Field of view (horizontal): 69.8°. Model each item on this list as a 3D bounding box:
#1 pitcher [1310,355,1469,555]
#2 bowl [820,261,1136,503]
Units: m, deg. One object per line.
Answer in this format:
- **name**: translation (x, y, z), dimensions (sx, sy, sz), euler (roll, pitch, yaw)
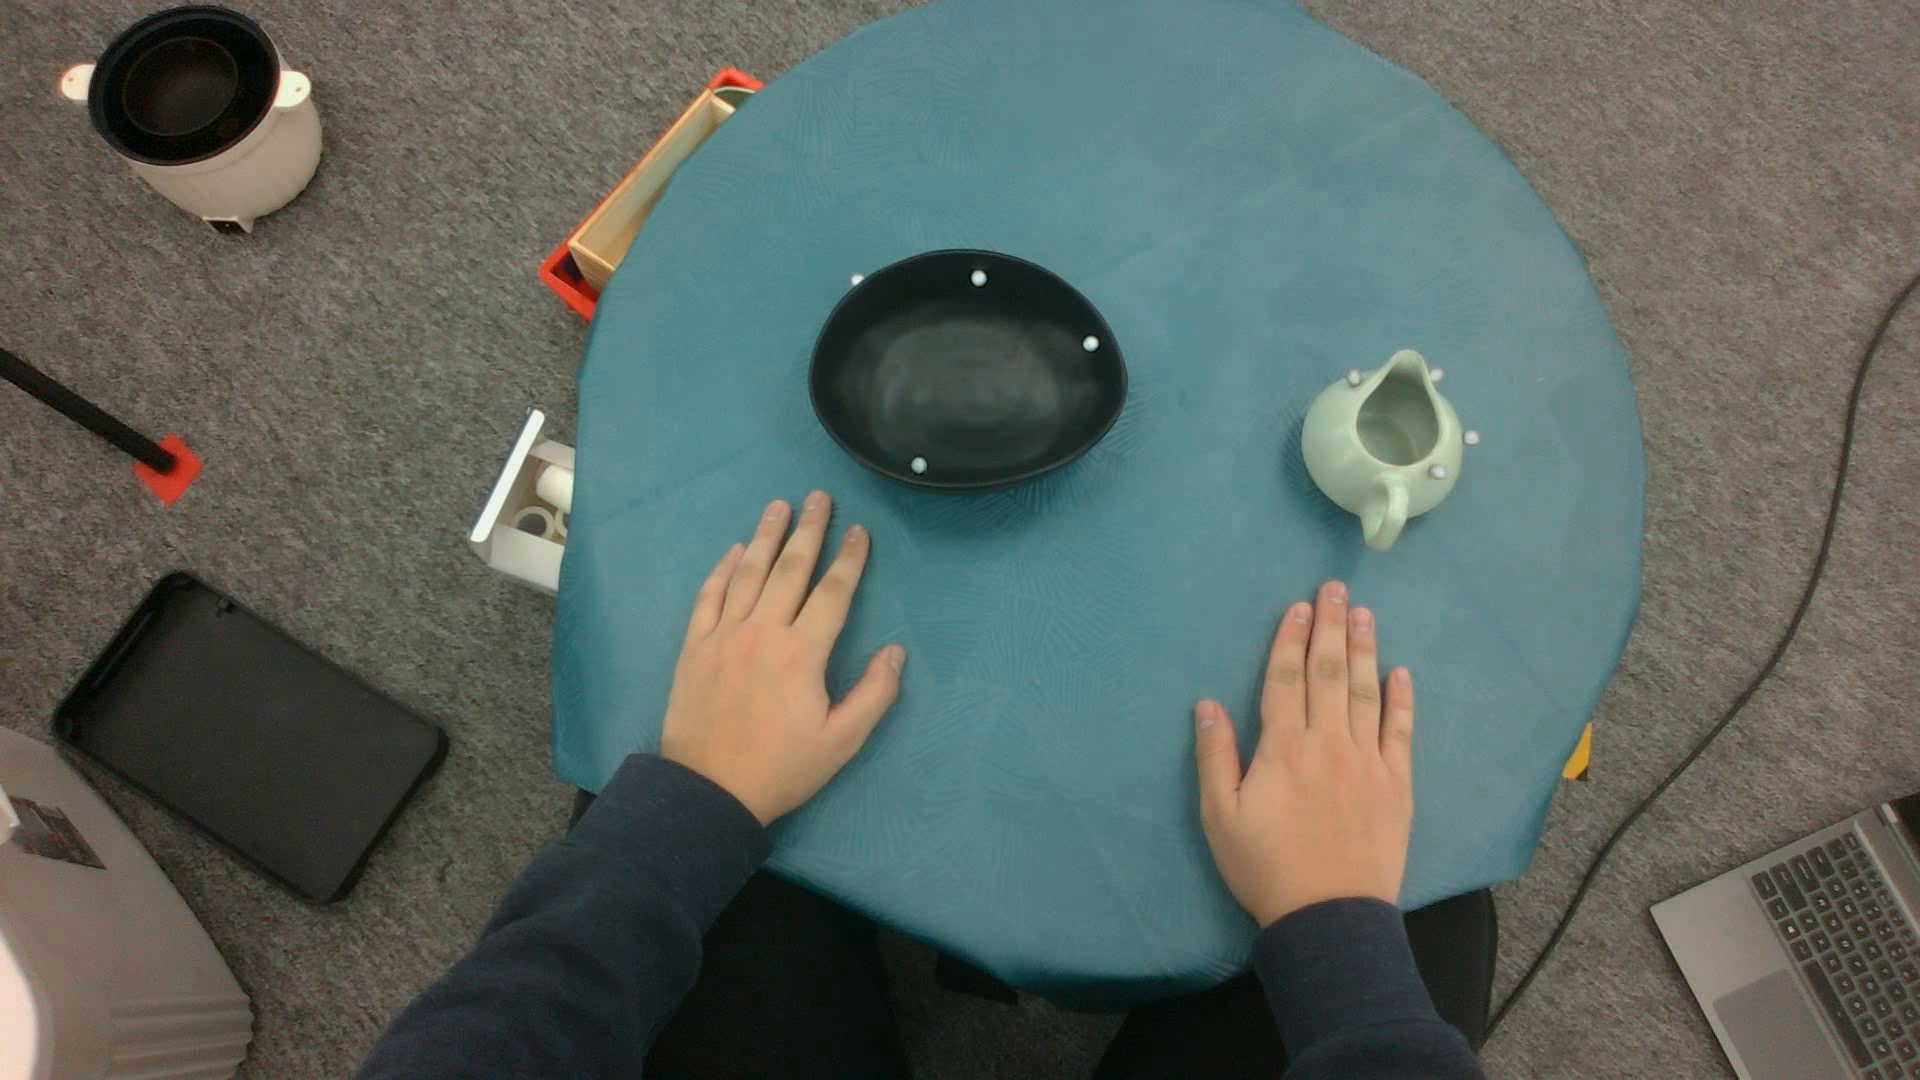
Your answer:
- **pitcher**: translation (0.236, -0.042, 0.751), dimensions (0.086, 0.060, 0.108), euler (7, 74, 4)
- **bowl**: translation (0.010, -0.079, 0.761), dimensions (0.170, 0.066, 0.137), euler (-2, 73, -1)
